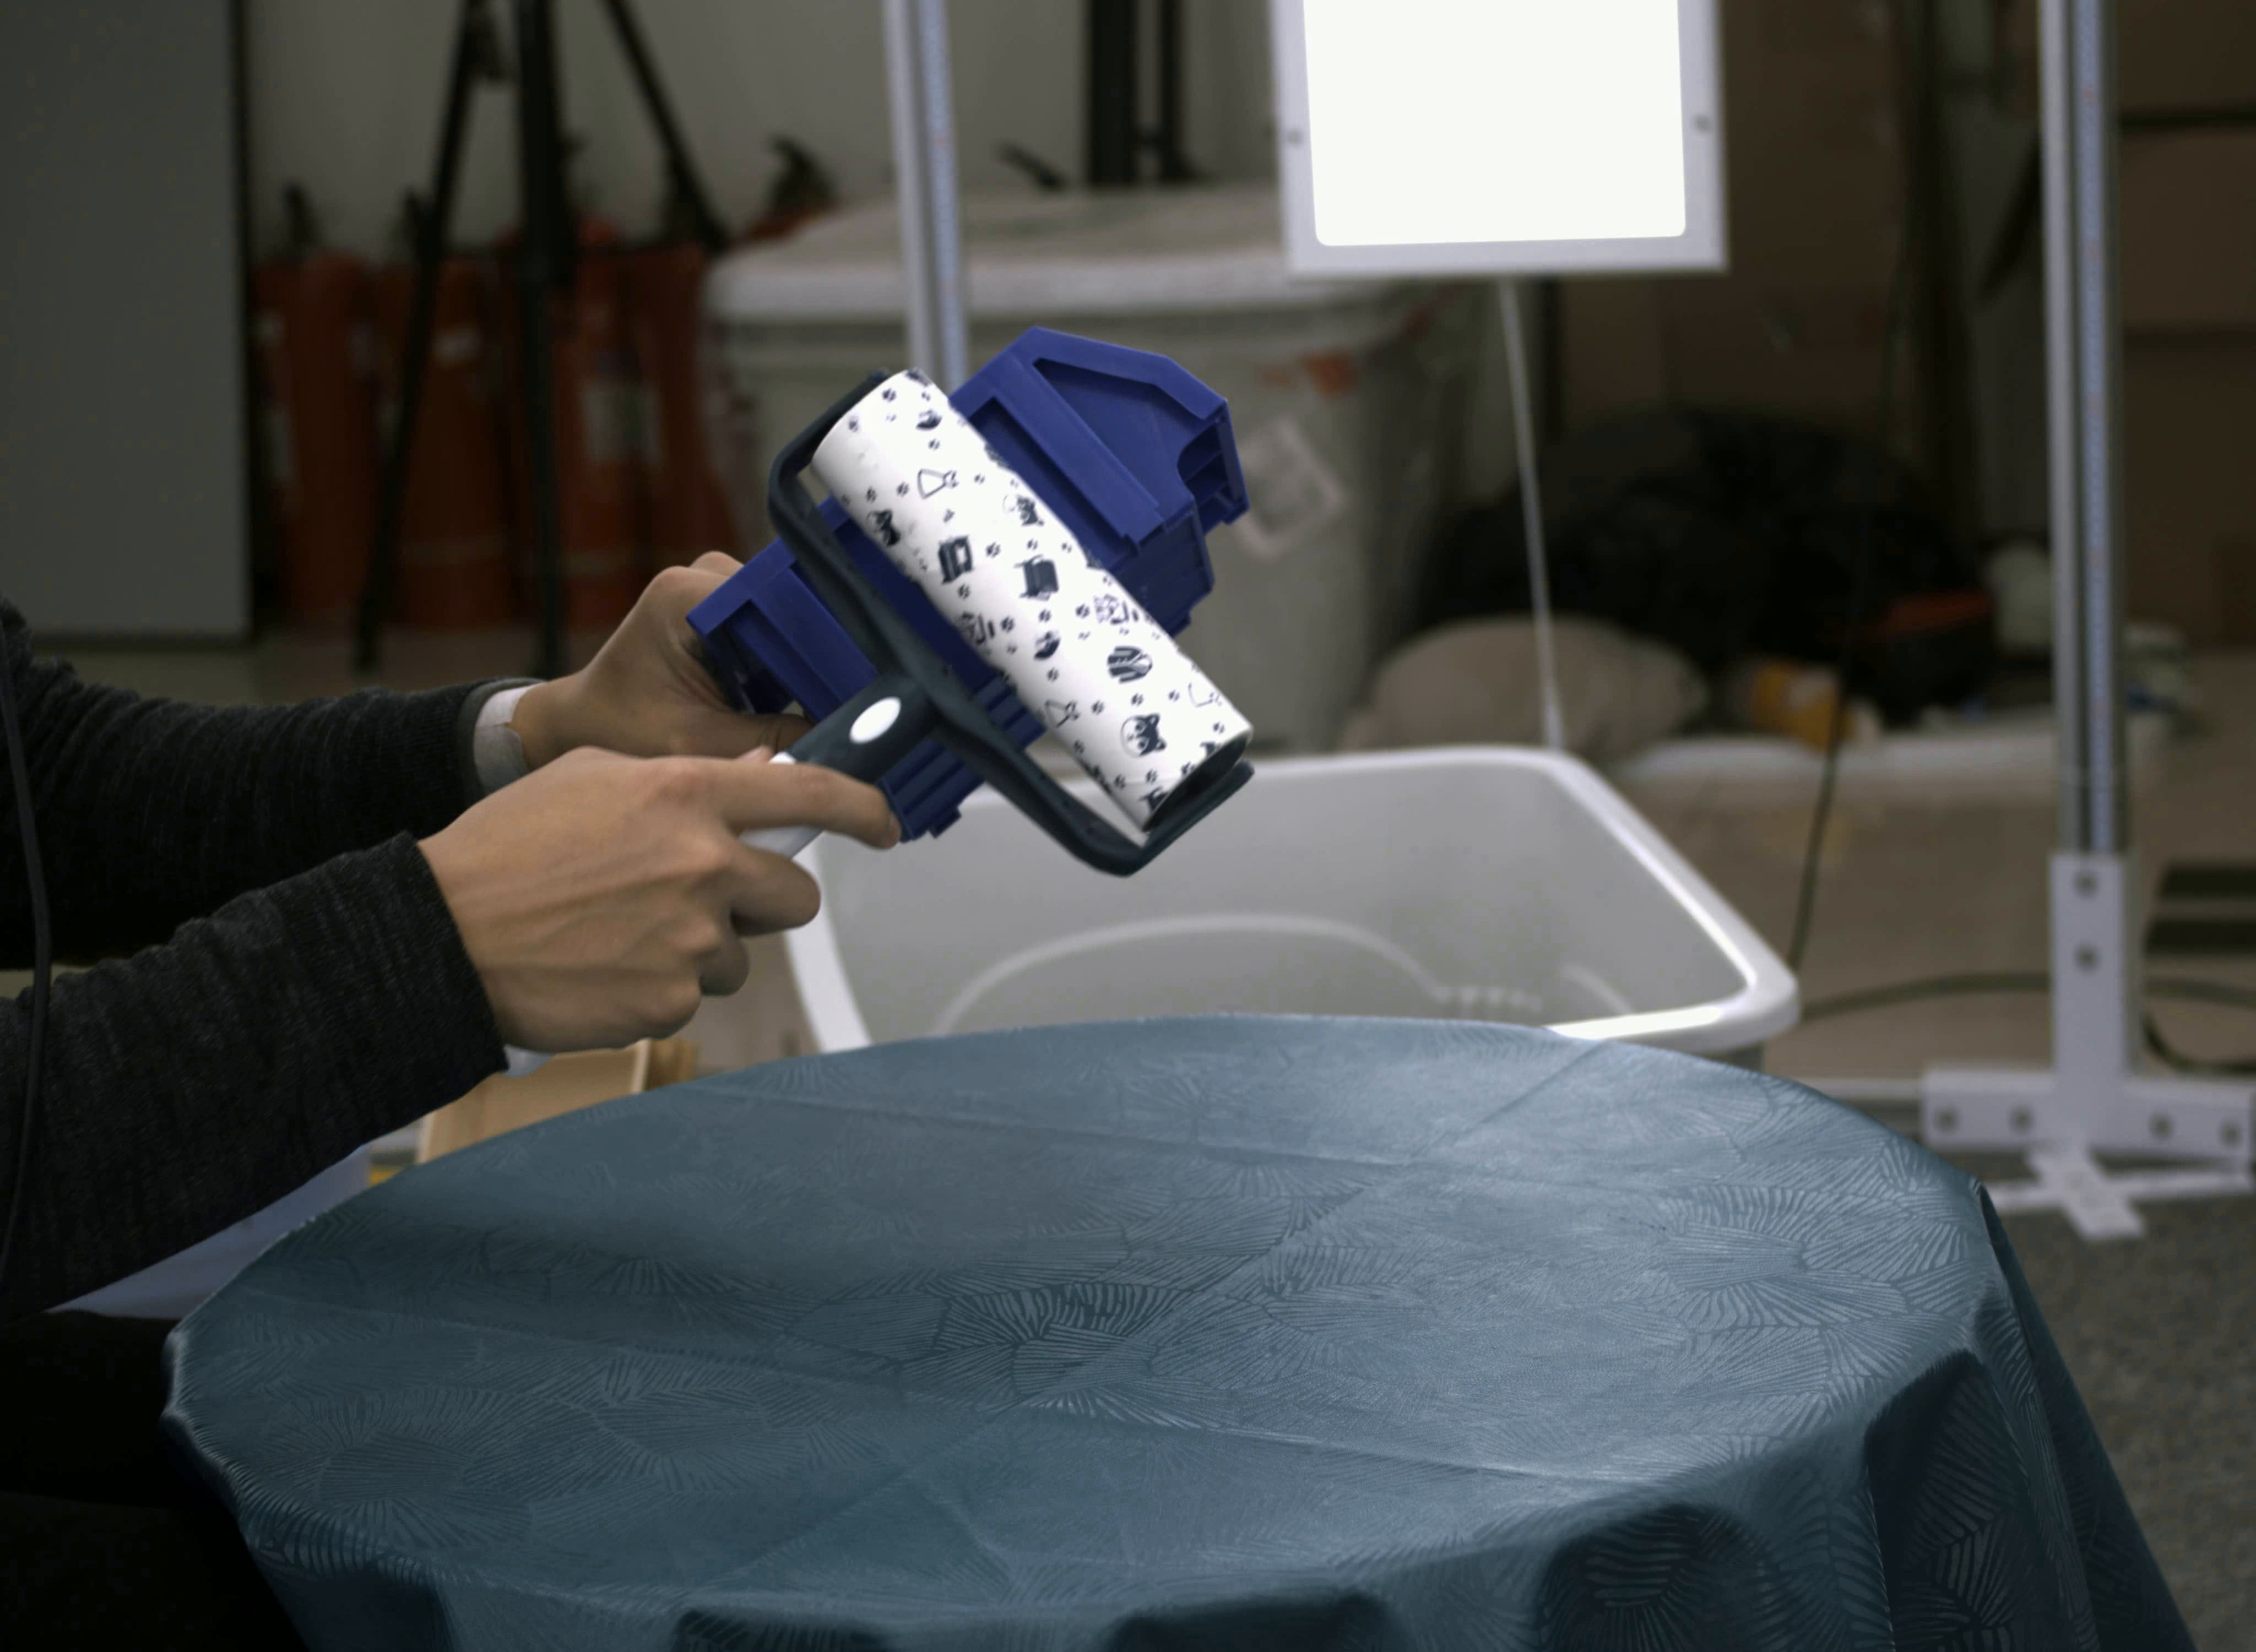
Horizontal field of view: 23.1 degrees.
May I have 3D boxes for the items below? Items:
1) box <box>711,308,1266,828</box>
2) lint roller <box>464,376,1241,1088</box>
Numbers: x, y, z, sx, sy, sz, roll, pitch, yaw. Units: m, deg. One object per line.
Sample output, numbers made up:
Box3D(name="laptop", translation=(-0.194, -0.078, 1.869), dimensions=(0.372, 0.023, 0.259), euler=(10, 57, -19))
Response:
Box3D(name="box", translation=(-0.038, -0.088, 1.842), dimensions=(0.179, 0.082, 0.124), euler=(-43, -15, -3))
Box3D(name="lint roller", translation=(-0.107, -0.005, 1.710), dimensions=(0.245, 0.177, 0.050), euler=(-41, -11, -12))
